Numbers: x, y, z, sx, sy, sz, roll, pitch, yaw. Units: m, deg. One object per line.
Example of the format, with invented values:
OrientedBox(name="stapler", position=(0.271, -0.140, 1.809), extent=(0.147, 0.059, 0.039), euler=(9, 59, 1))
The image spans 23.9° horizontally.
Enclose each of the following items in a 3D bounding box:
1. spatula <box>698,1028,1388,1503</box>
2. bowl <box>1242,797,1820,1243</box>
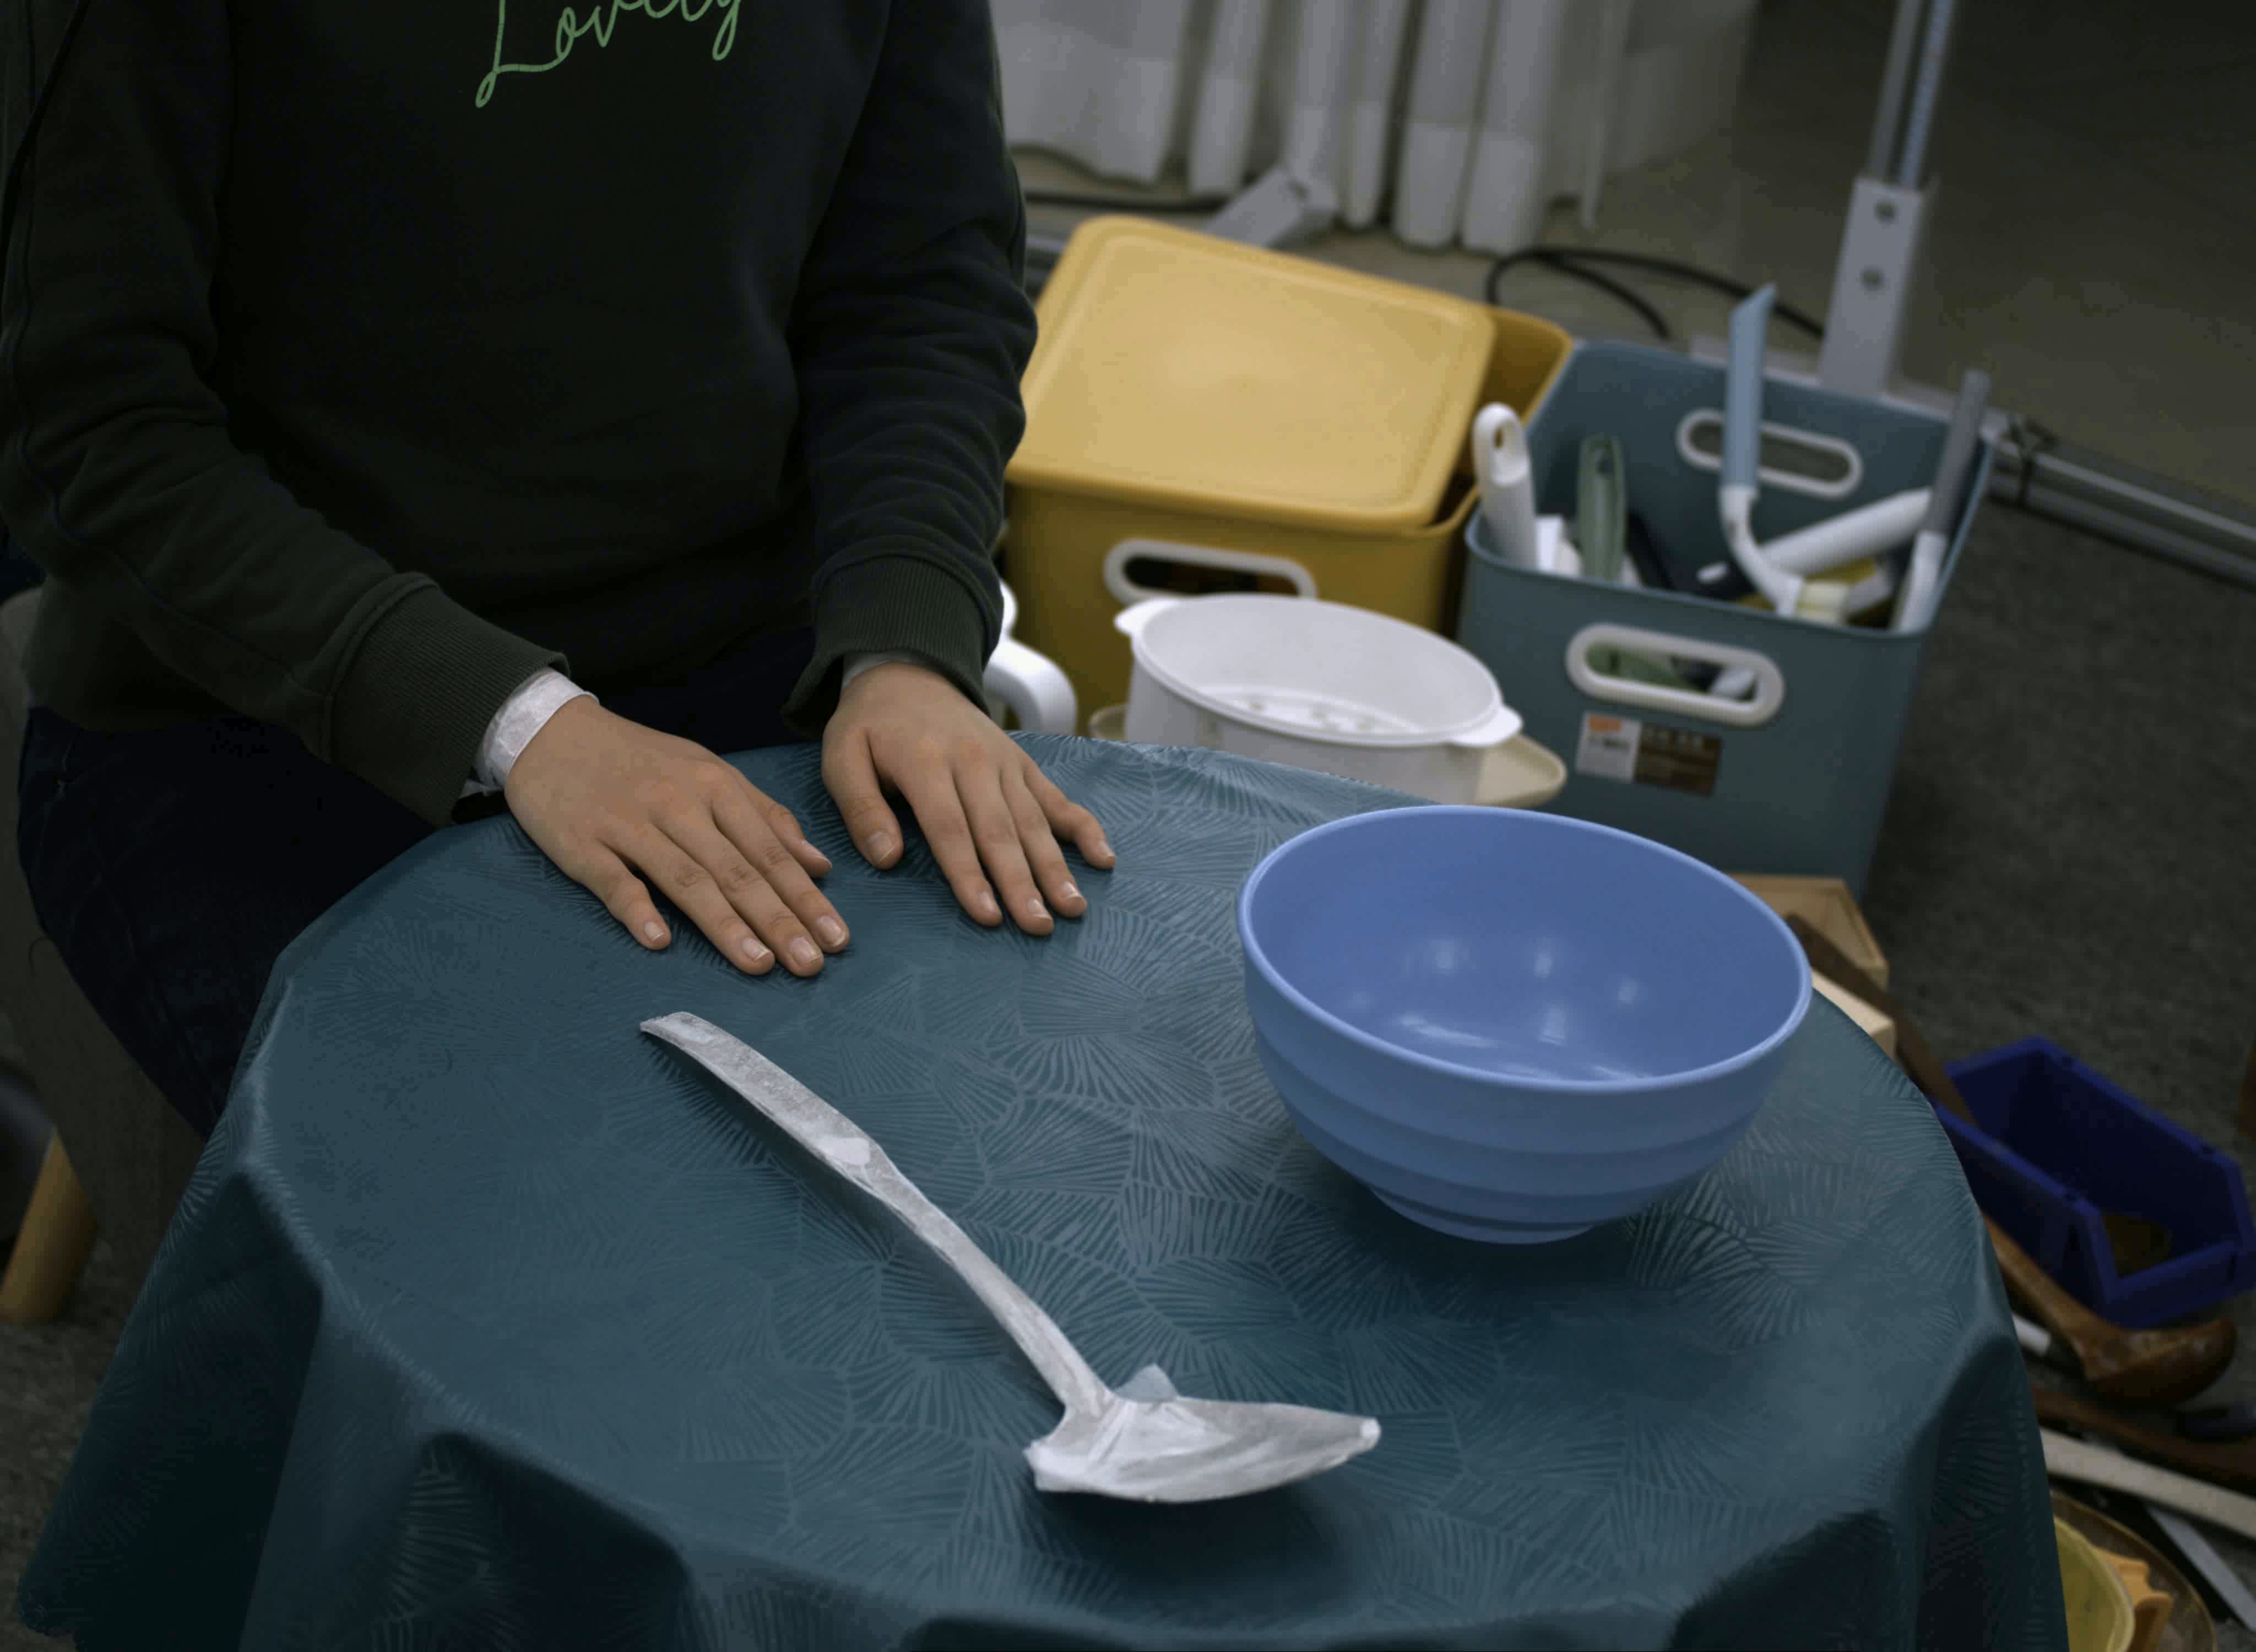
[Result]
OrientedBox(name="spatula", position=(-0.052, 0.134, 1.725), extent=(0.098, 0.044, 0.368), euler=(-13, 33, -31))
OrientedBox(name="bowl", position=(0.130, 0.078, 1.813), extent=(0.196, 0.095, 0.198), euler=(6, 28, -3))
